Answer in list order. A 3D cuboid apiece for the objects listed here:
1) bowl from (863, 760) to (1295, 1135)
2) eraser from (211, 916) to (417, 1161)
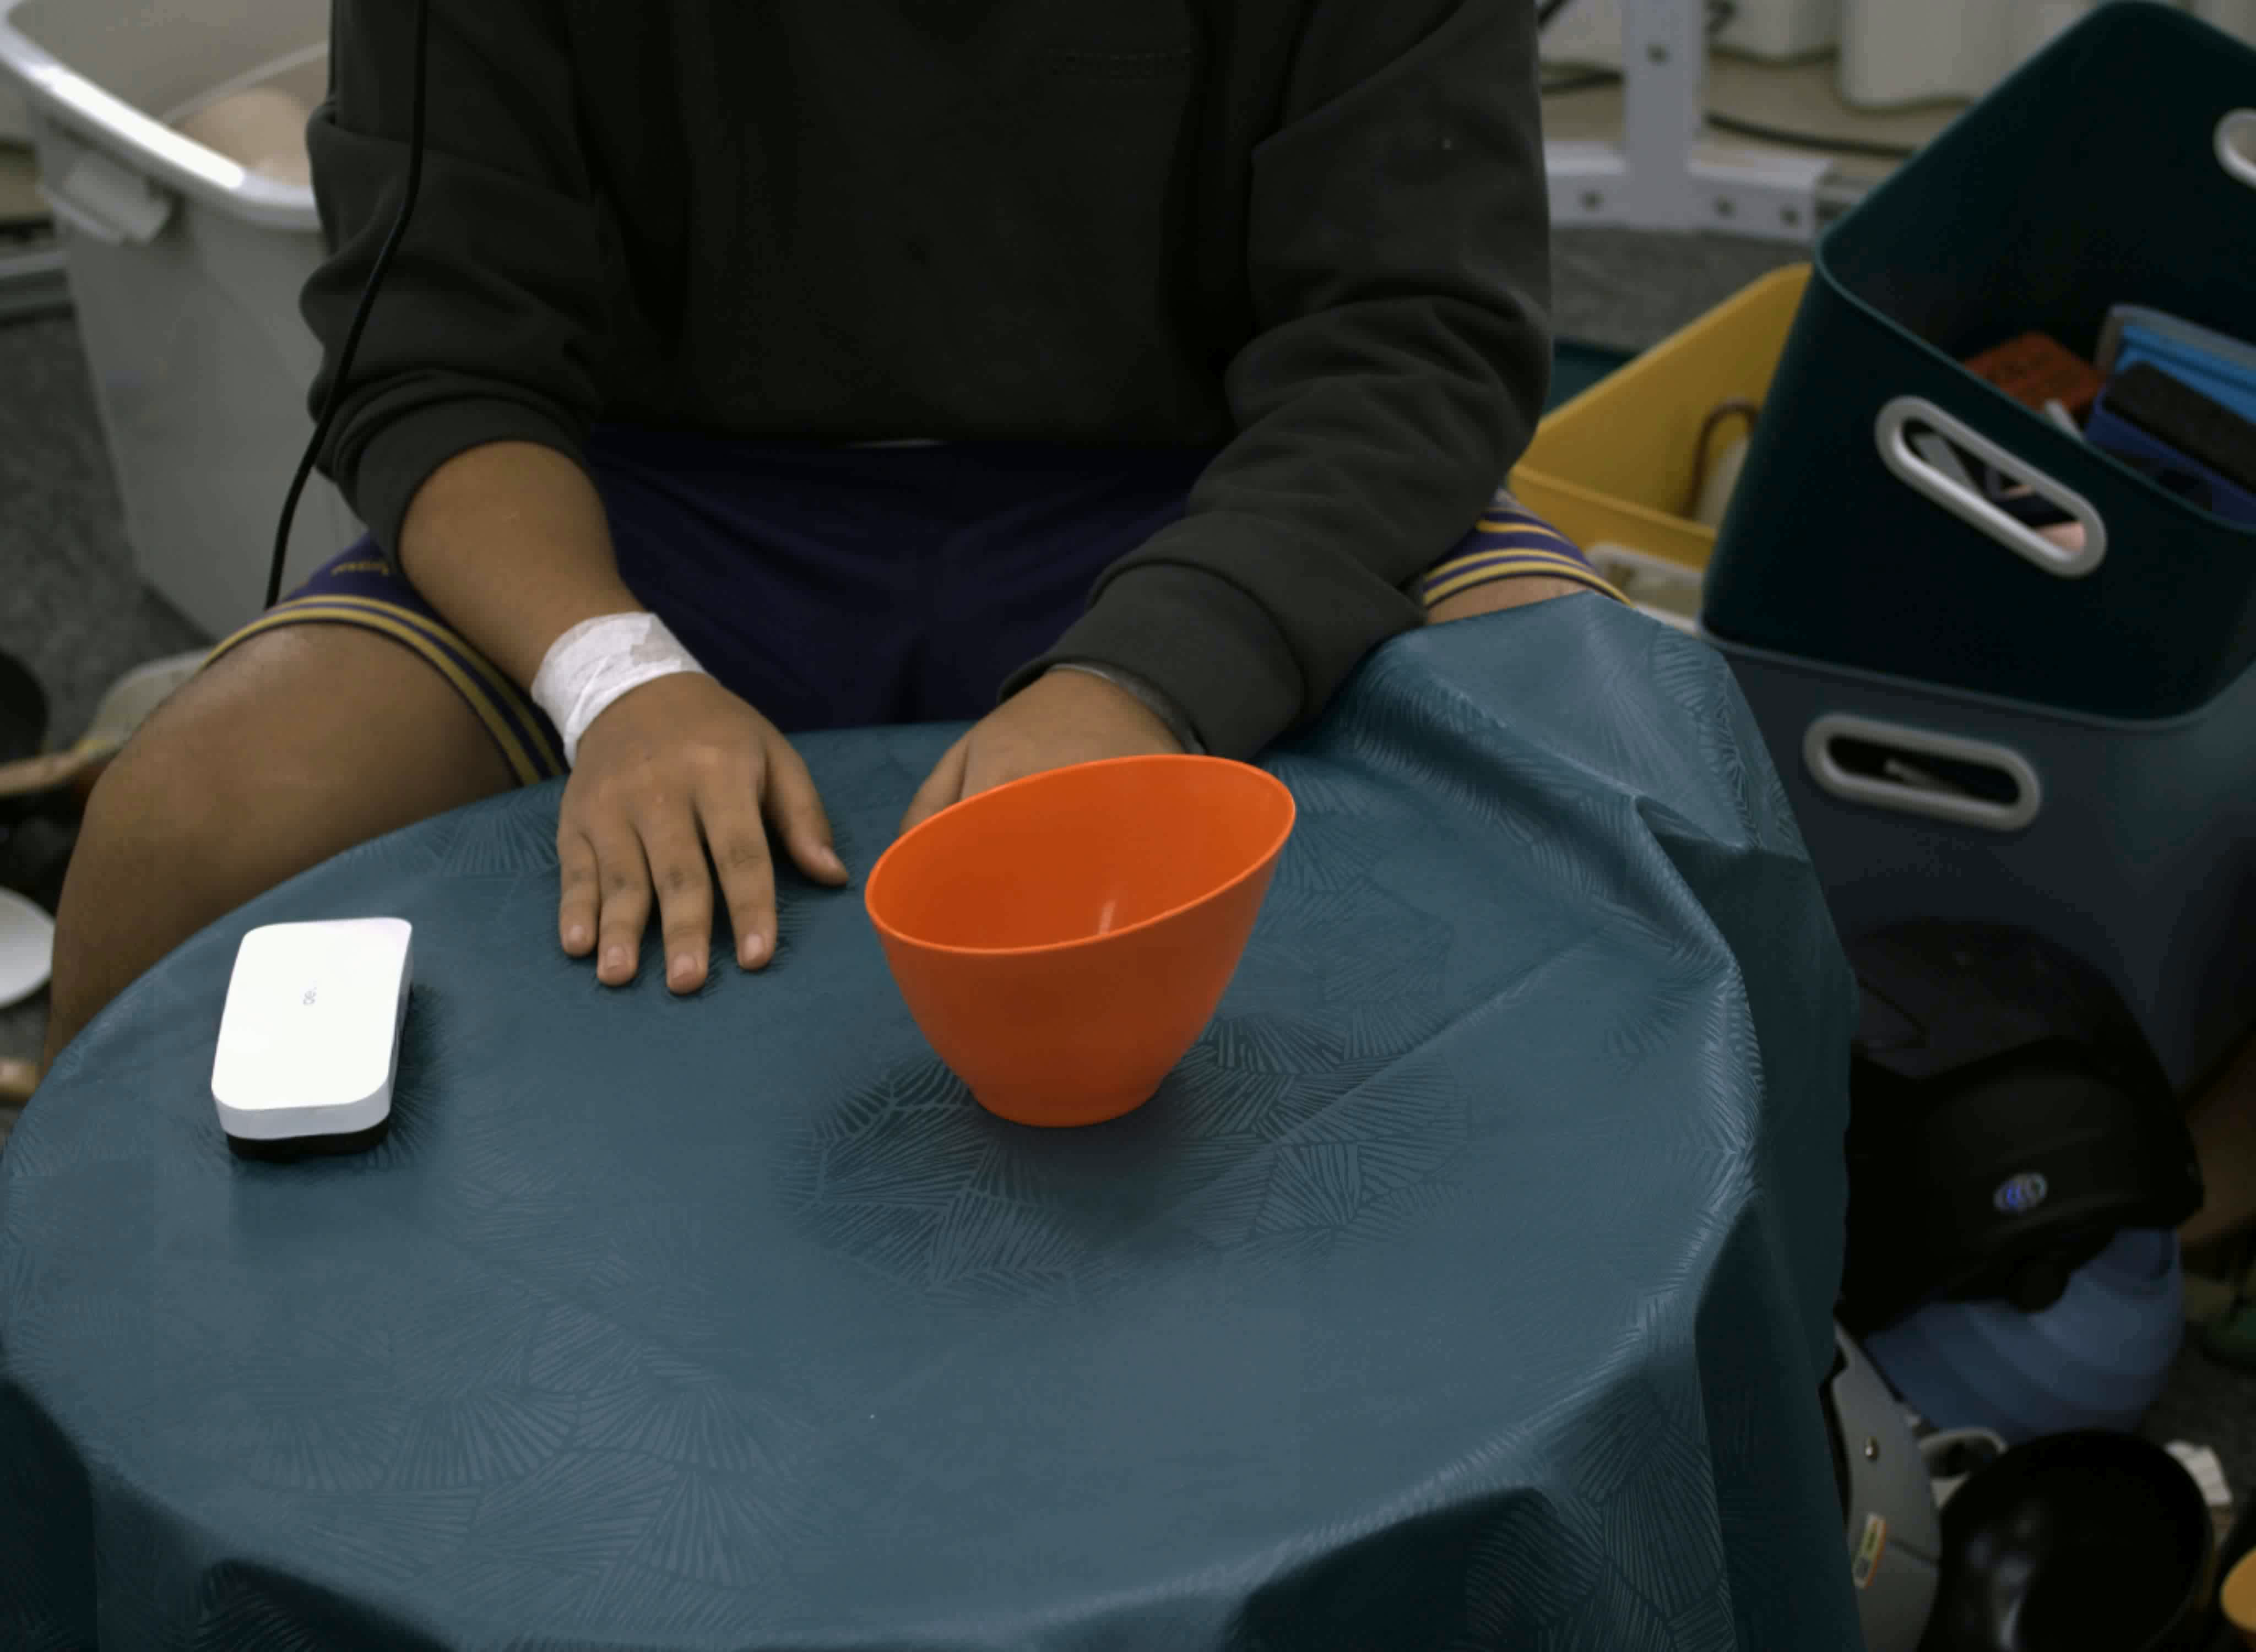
[{"bbox_3d":[-0.015,0.046,1.903,0.147,0.103,0.150,-3,26,2],"label":"bowl"},{"bbox_3d":[-0.280,0.071,1.954,0.063,0.034,0.133,-2,29,1],"label":"eraser"}]
